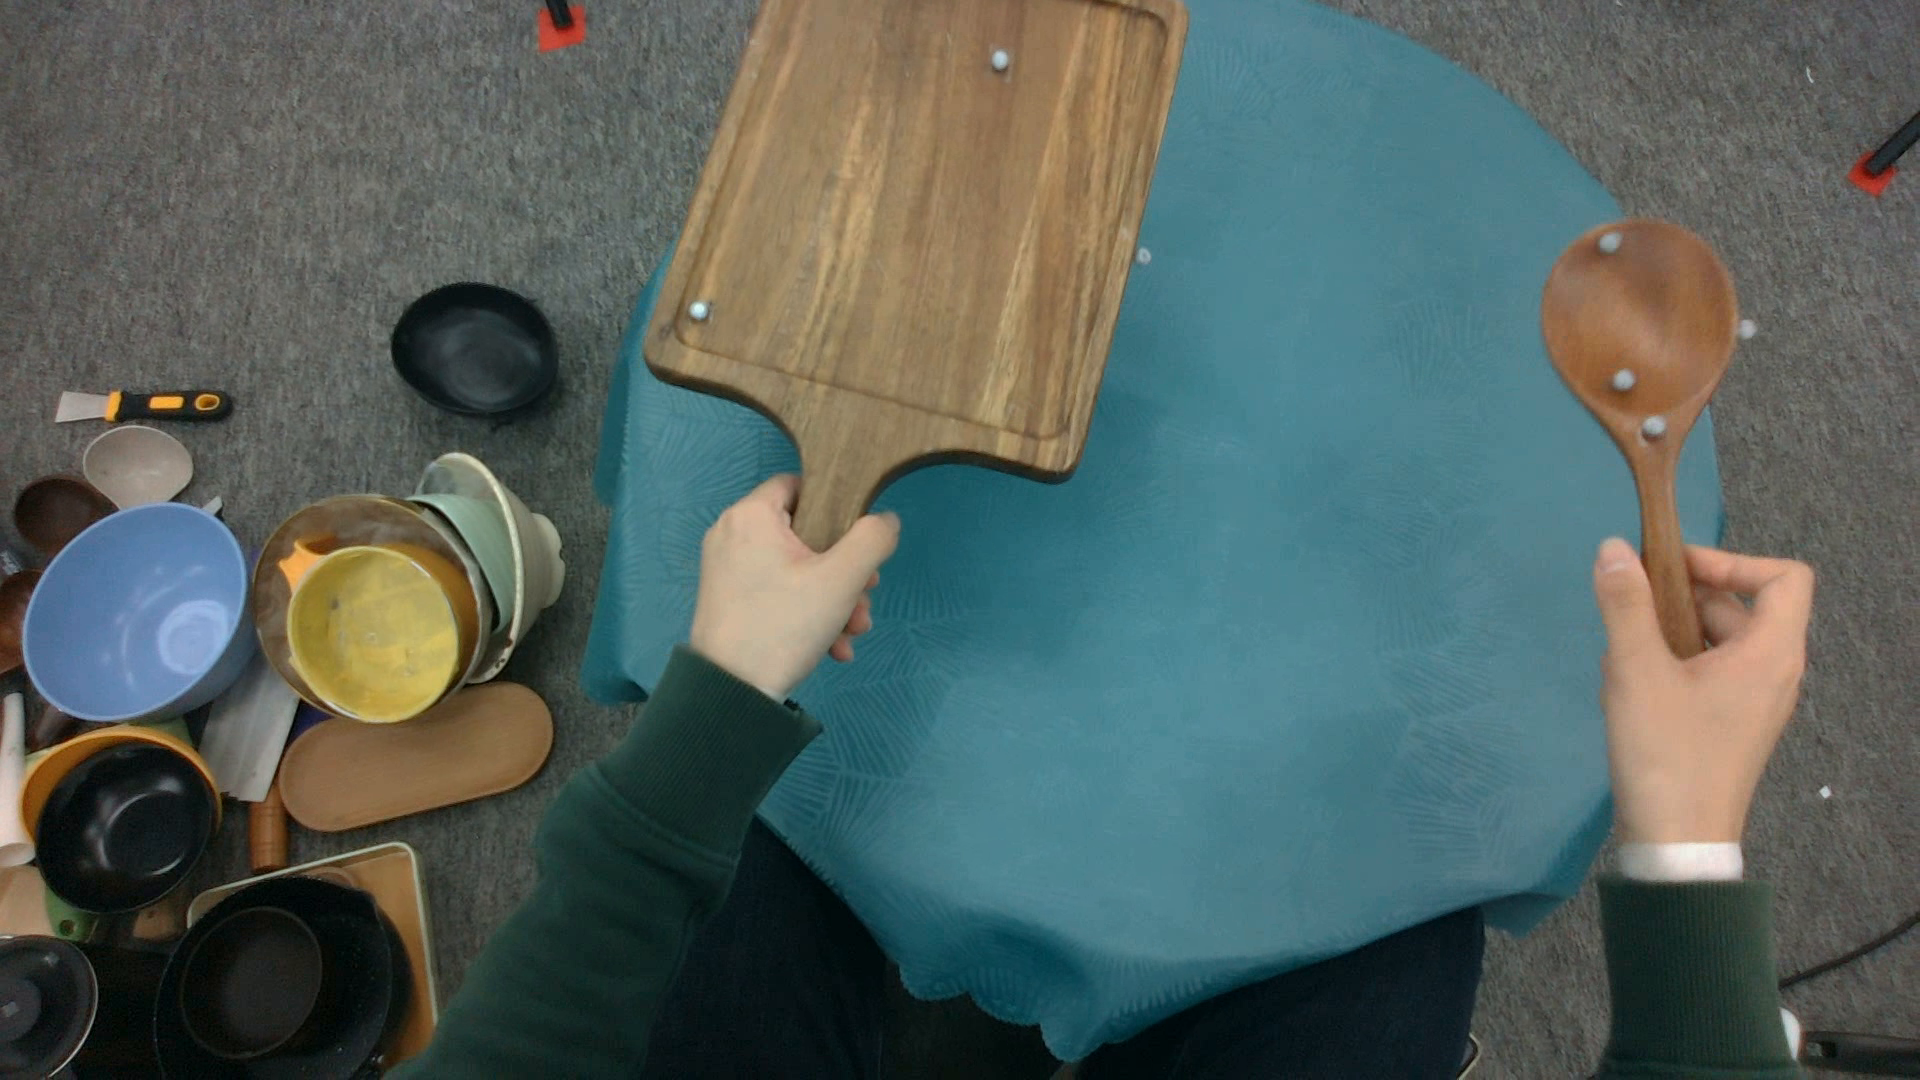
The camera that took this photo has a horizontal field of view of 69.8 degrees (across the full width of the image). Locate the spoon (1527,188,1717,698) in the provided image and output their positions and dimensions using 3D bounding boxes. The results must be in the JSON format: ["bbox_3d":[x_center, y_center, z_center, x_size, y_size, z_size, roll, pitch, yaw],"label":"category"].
[{"bbox_3d":[0.268,-0.044,0.553,0.075,0.017,0.216,3,73,7],"label":"spoon"}]

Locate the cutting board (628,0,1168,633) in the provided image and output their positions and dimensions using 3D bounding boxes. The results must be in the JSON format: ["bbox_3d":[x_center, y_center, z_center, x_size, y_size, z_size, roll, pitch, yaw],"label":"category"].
[{"bbox_3d":[-0.033,-0.129,0.617,0.201,0.023,0.353,15,74,-1],"label":"cutting board"}]
